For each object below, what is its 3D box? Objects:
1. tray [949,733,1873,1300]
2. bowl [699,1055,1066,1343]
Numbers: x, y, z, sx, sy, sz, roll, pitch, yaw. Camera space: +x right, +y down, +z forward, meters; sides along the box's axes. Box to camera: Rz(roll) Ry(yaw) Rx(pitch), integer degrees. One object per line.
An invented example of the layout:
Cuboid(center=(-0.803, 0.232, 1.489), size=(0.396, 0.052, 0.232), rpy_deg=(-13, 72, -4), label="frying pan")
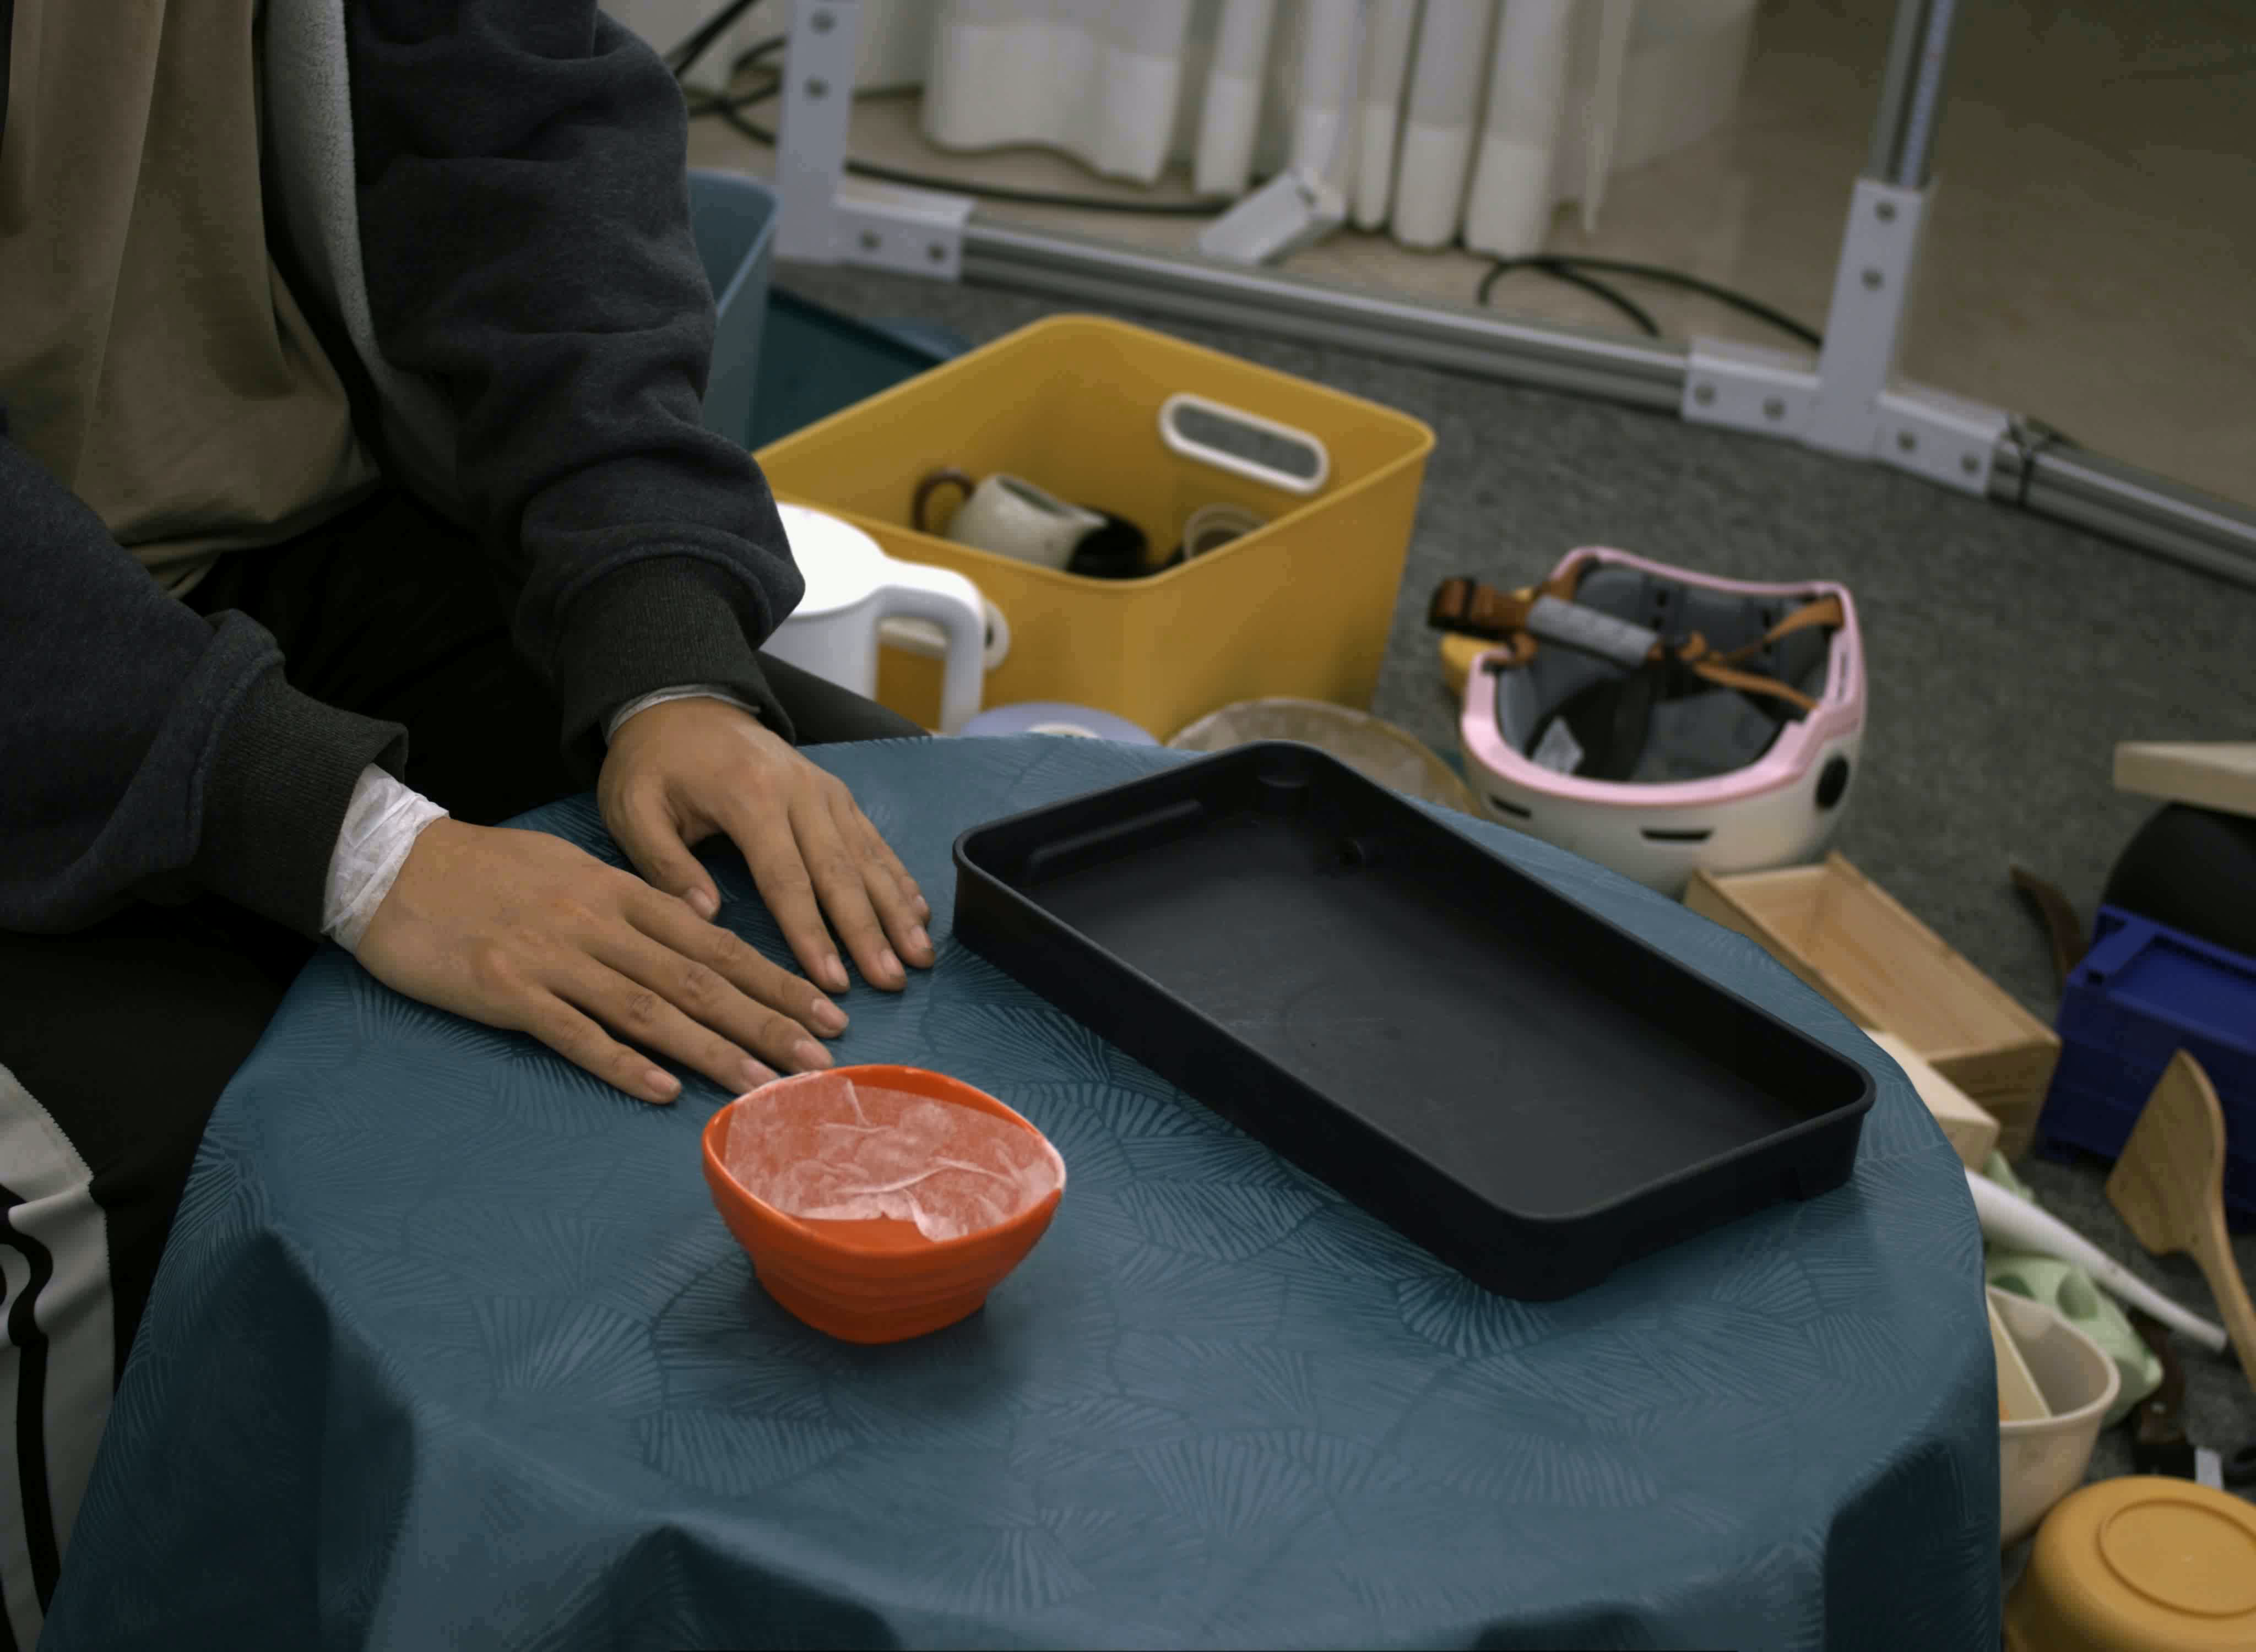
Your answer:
Cuboid(center=(0.095, 0.062, 1.903), size=(0.183, 0.037, 0.320), rpy_deg=(-17, 35, -38), label="tray")
Cuboid(center=(-0.081, 0.125, 1.720), size=(0.118, 0.051, 0.119), rpy_deg=(5, 28, -3), label="bowl")
